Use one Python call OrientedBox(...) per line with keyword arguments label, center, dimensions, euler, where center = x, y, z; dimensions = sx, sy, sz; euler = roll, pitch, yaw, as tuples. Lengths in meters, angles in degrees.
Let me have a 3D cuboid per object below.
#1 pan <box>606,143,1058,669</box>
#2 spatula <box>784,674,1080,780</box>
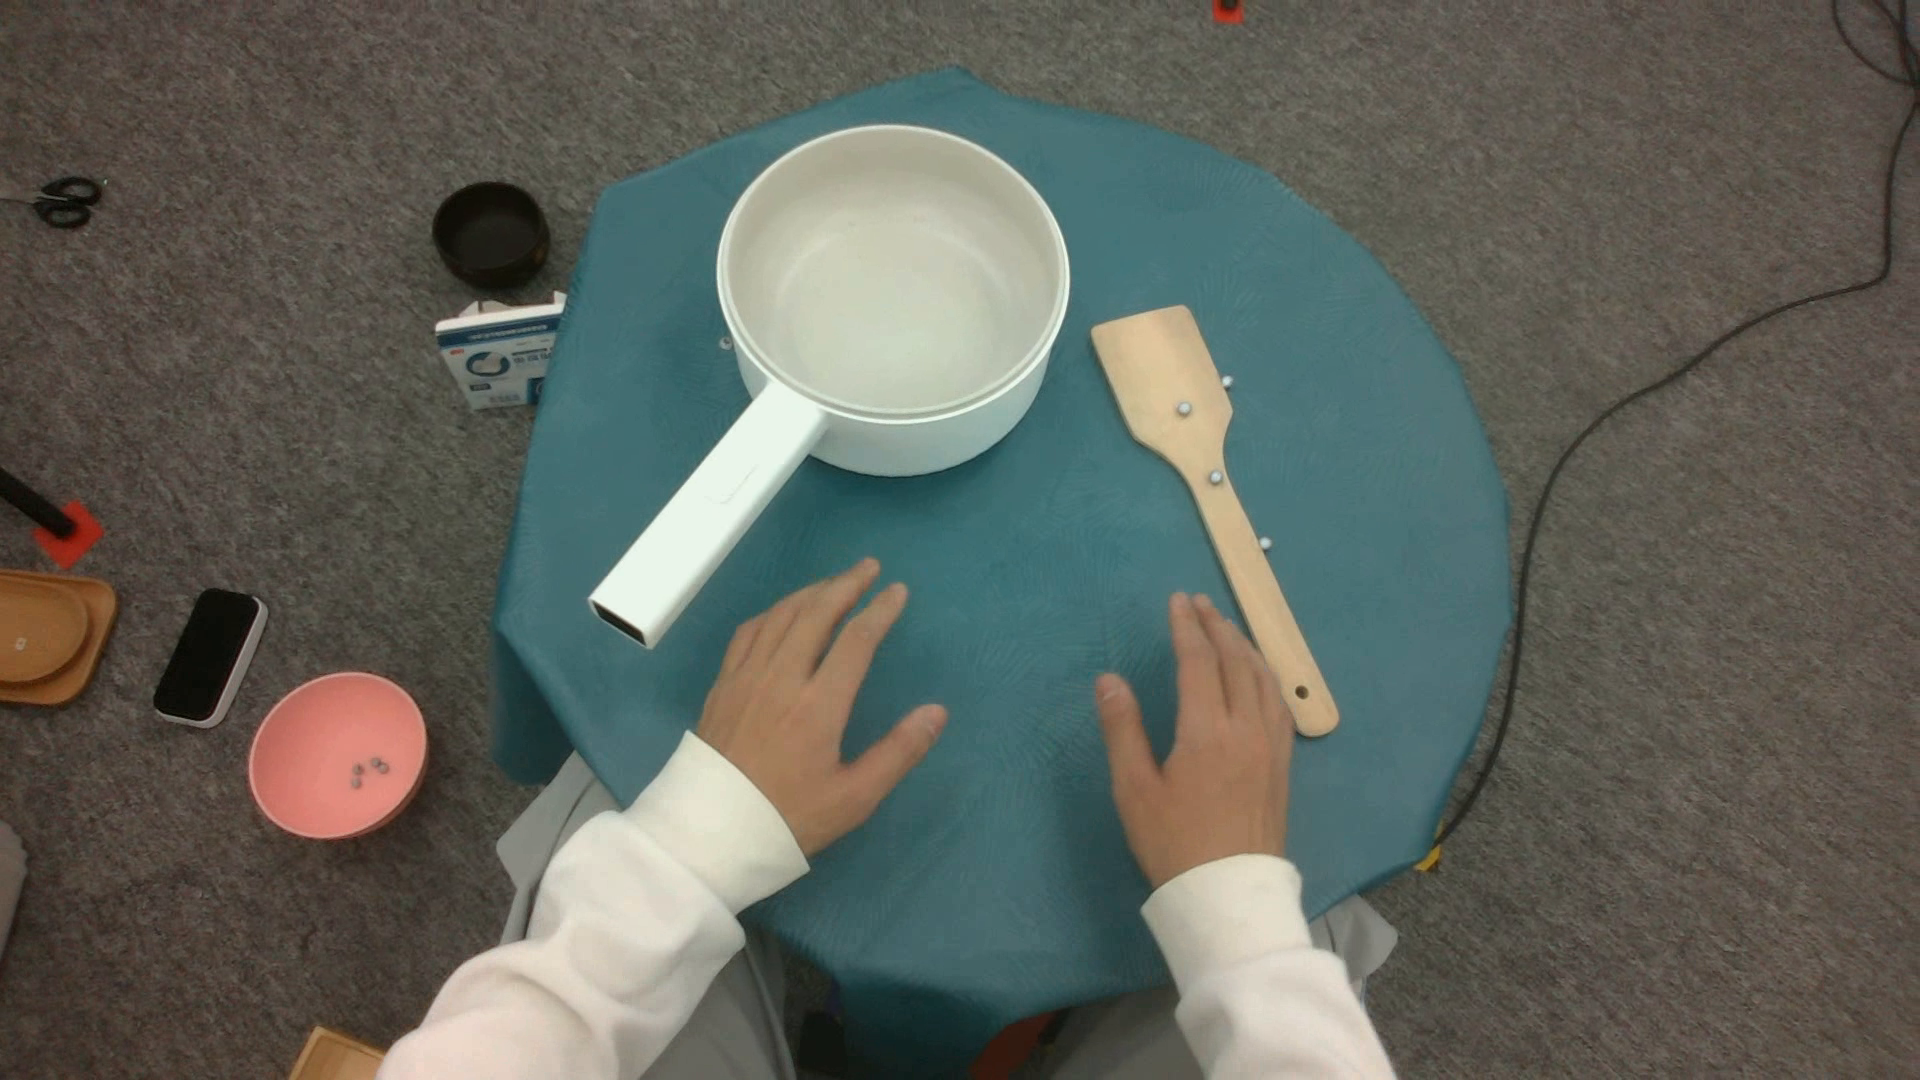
OrientedBox(label="pan", center=(-0.083, -0.071, 0.820), dimensions=(0.201, 0.102, 0.356), euler=(30, 70, 7))
OrientedBox(label="spatula", center=(-0.030, 0.174, 1.353), dimensions=(0.293, 0.010, 0.072), euler=(11, 67, 3))
